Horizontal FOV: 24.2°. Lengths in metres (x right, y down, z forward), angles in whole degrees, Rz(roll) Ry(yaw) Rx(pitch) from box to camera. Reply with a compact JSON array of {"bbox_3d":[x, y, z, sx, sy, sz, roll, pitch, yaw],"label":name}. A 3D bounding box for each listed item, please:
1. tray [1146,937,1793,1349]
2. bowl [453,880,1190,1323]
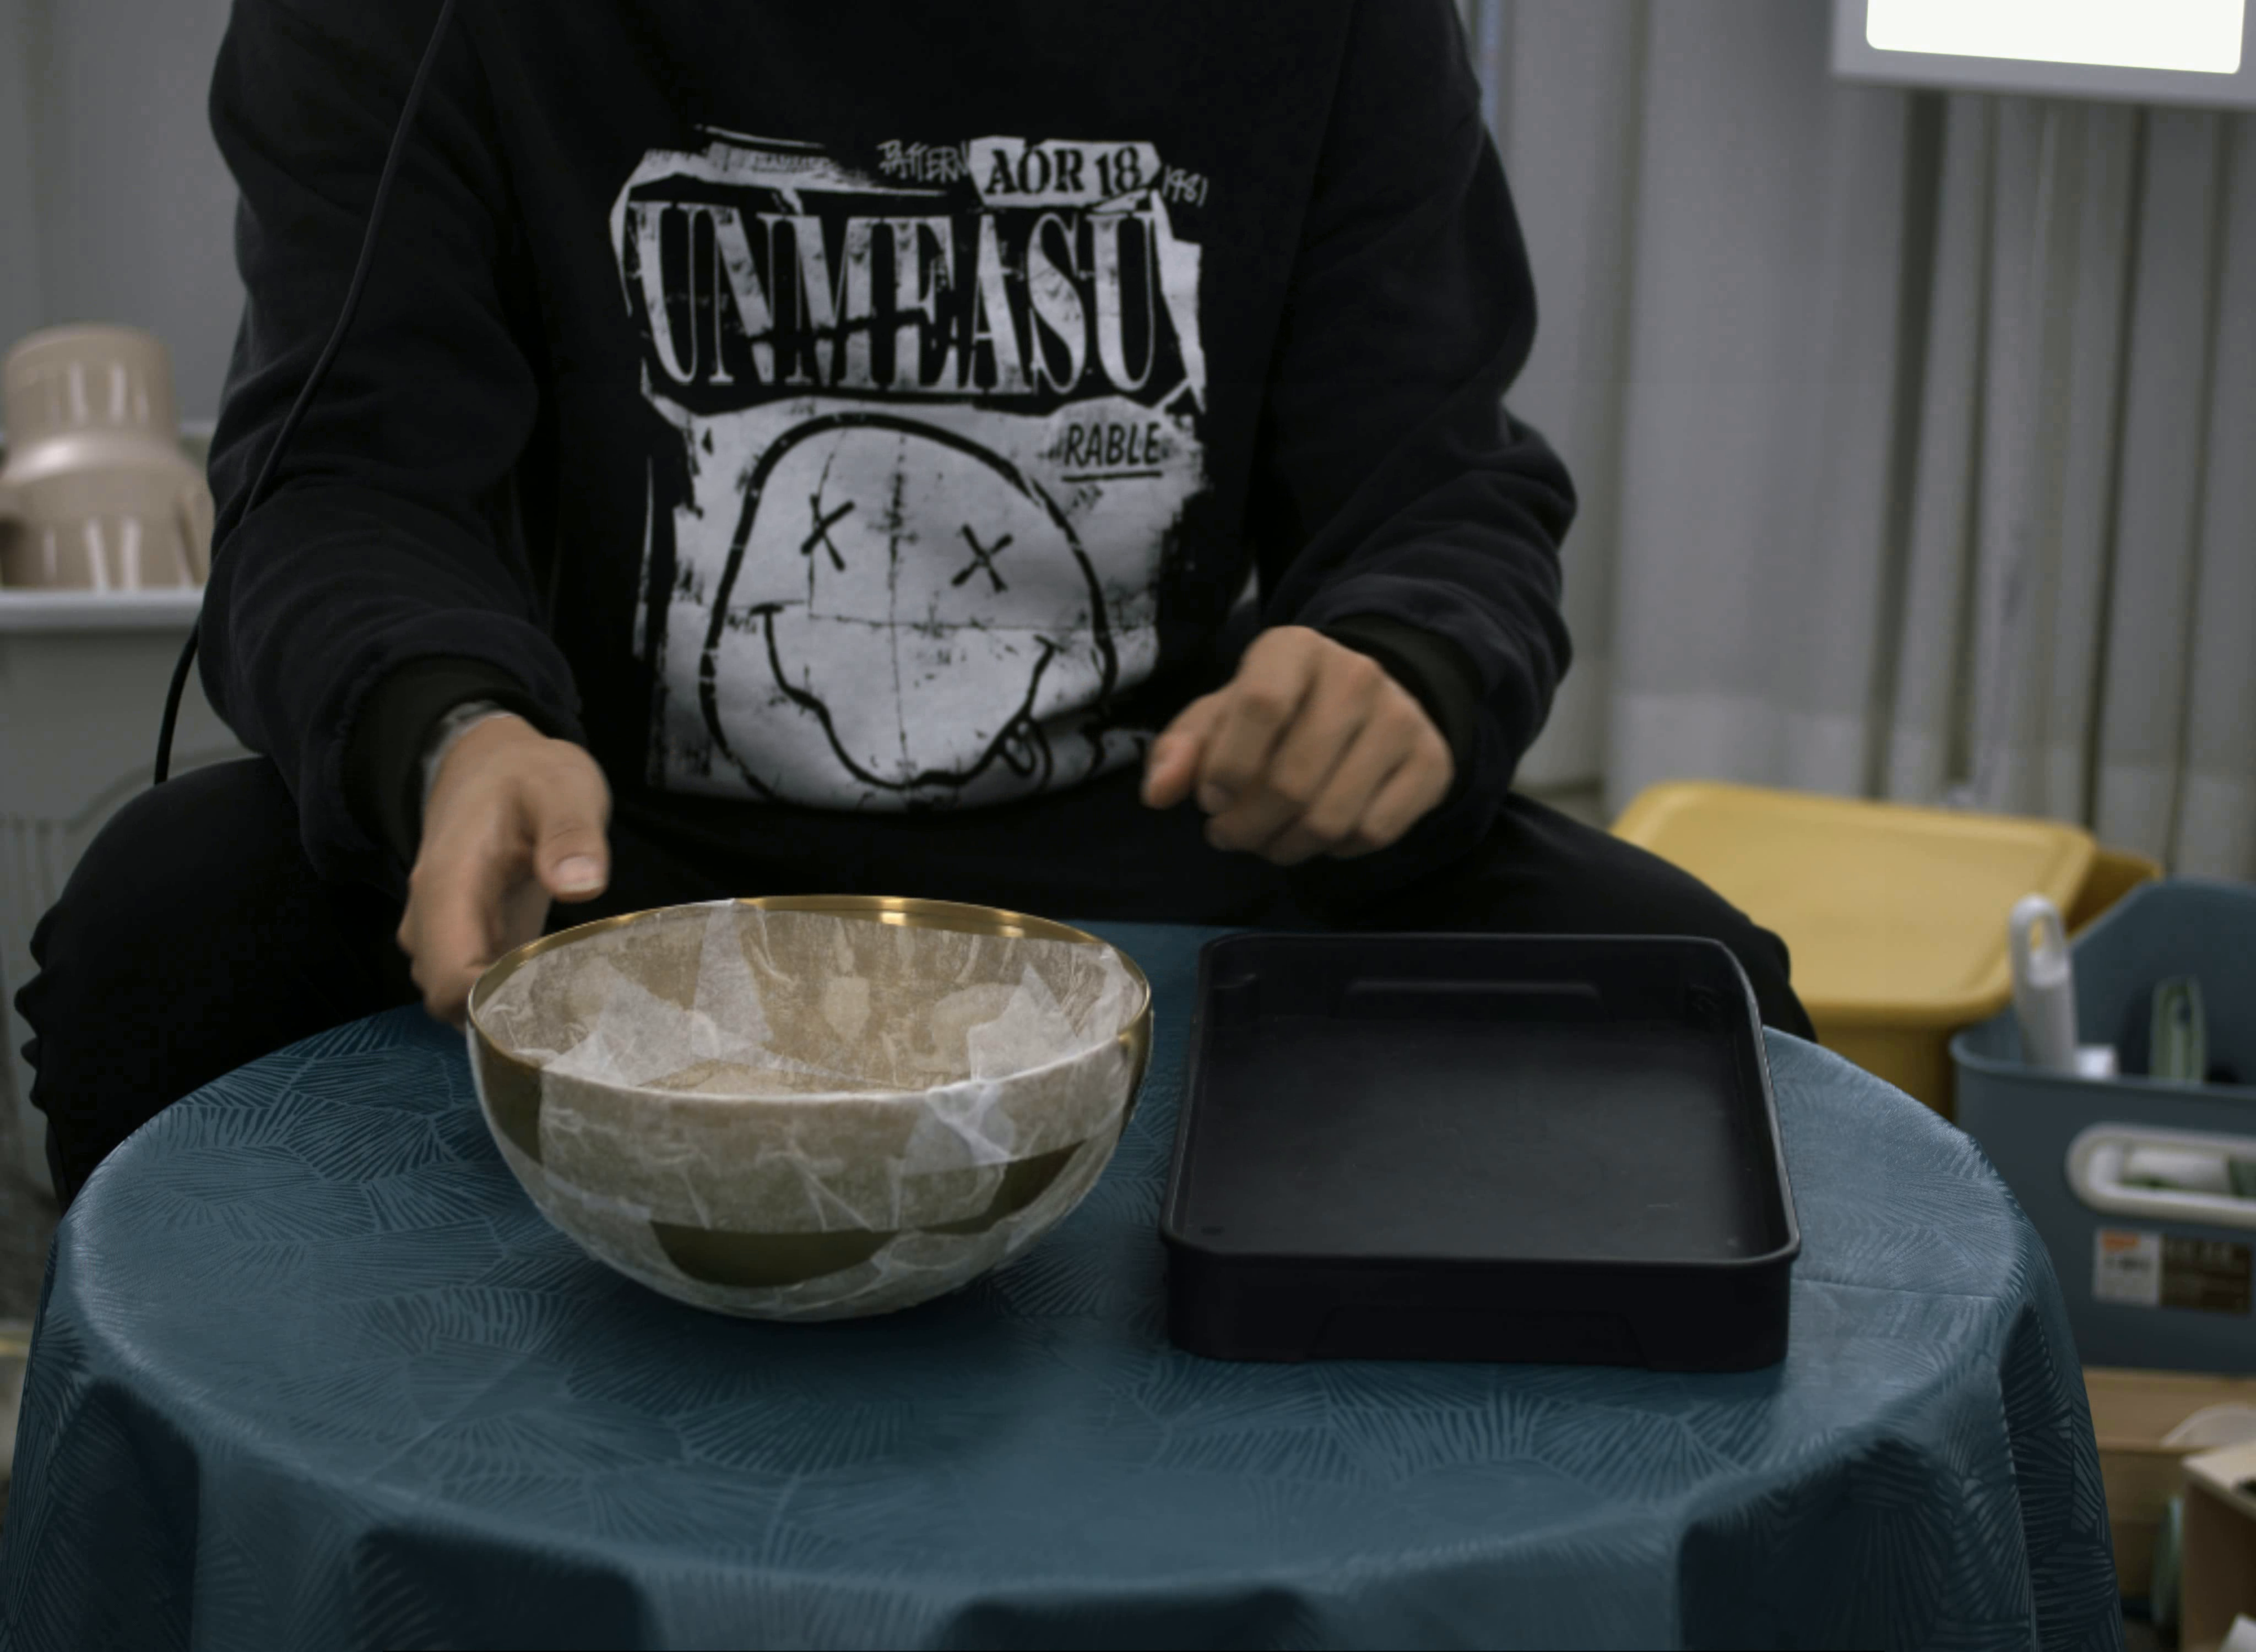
[{"bbox_3d":[0.107,0.092,1.626,0.183,0.037,0.317,0,14,4],"label":"tray"},{"bbox_3d":[-0.090,0.089,1.537,0.214,0.095,0.213,0,16,1],"label":"bowl"}]
